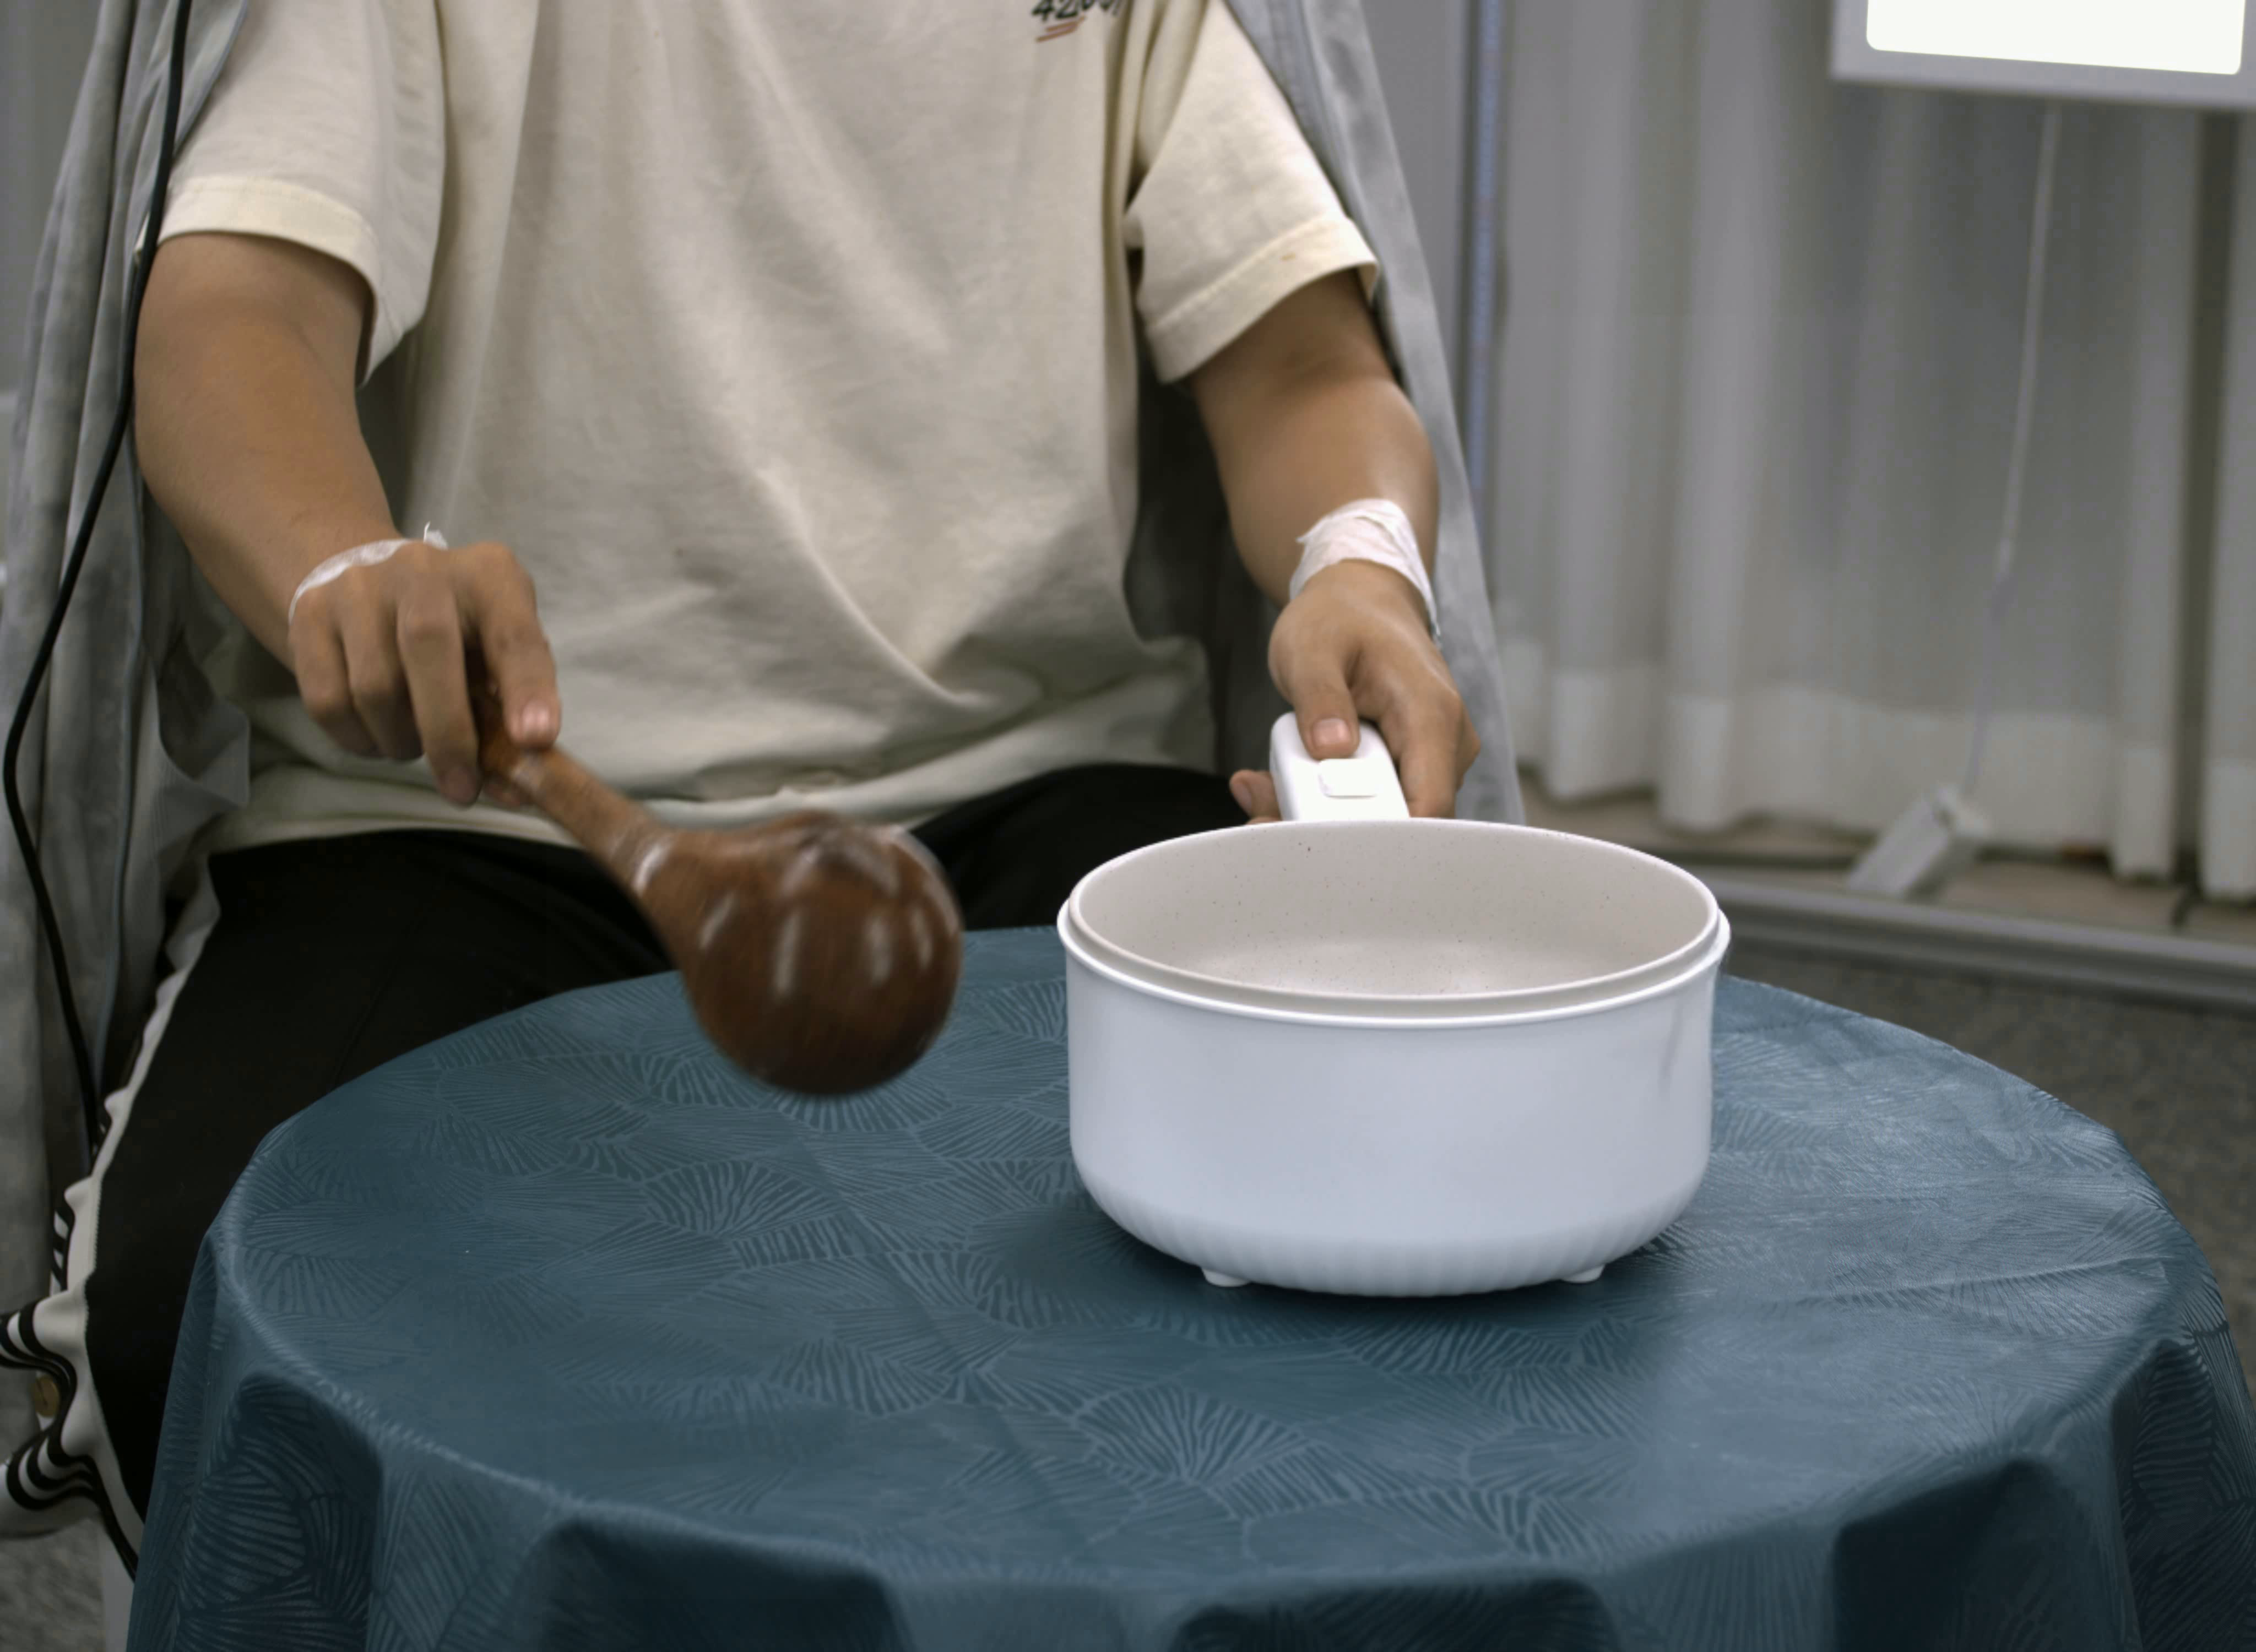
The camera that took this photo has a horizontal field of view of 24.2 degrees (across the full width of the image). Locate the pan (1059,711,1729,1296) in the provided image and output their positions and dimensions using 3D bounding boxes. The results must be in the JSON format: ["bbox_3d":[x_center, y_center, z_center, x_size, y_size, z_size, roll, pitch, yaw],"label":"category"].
[{"bbox_3d":[0.077,0.051,1.662,0.201,0.103,0.352,-1,15,-2],"label":"pan"}]

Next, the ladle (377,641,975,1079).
[{"bbox_3d":[-0.134,-0.002,1.542,0.077,0.082,0.270,29,0,-34],"label":"ladle"}]
